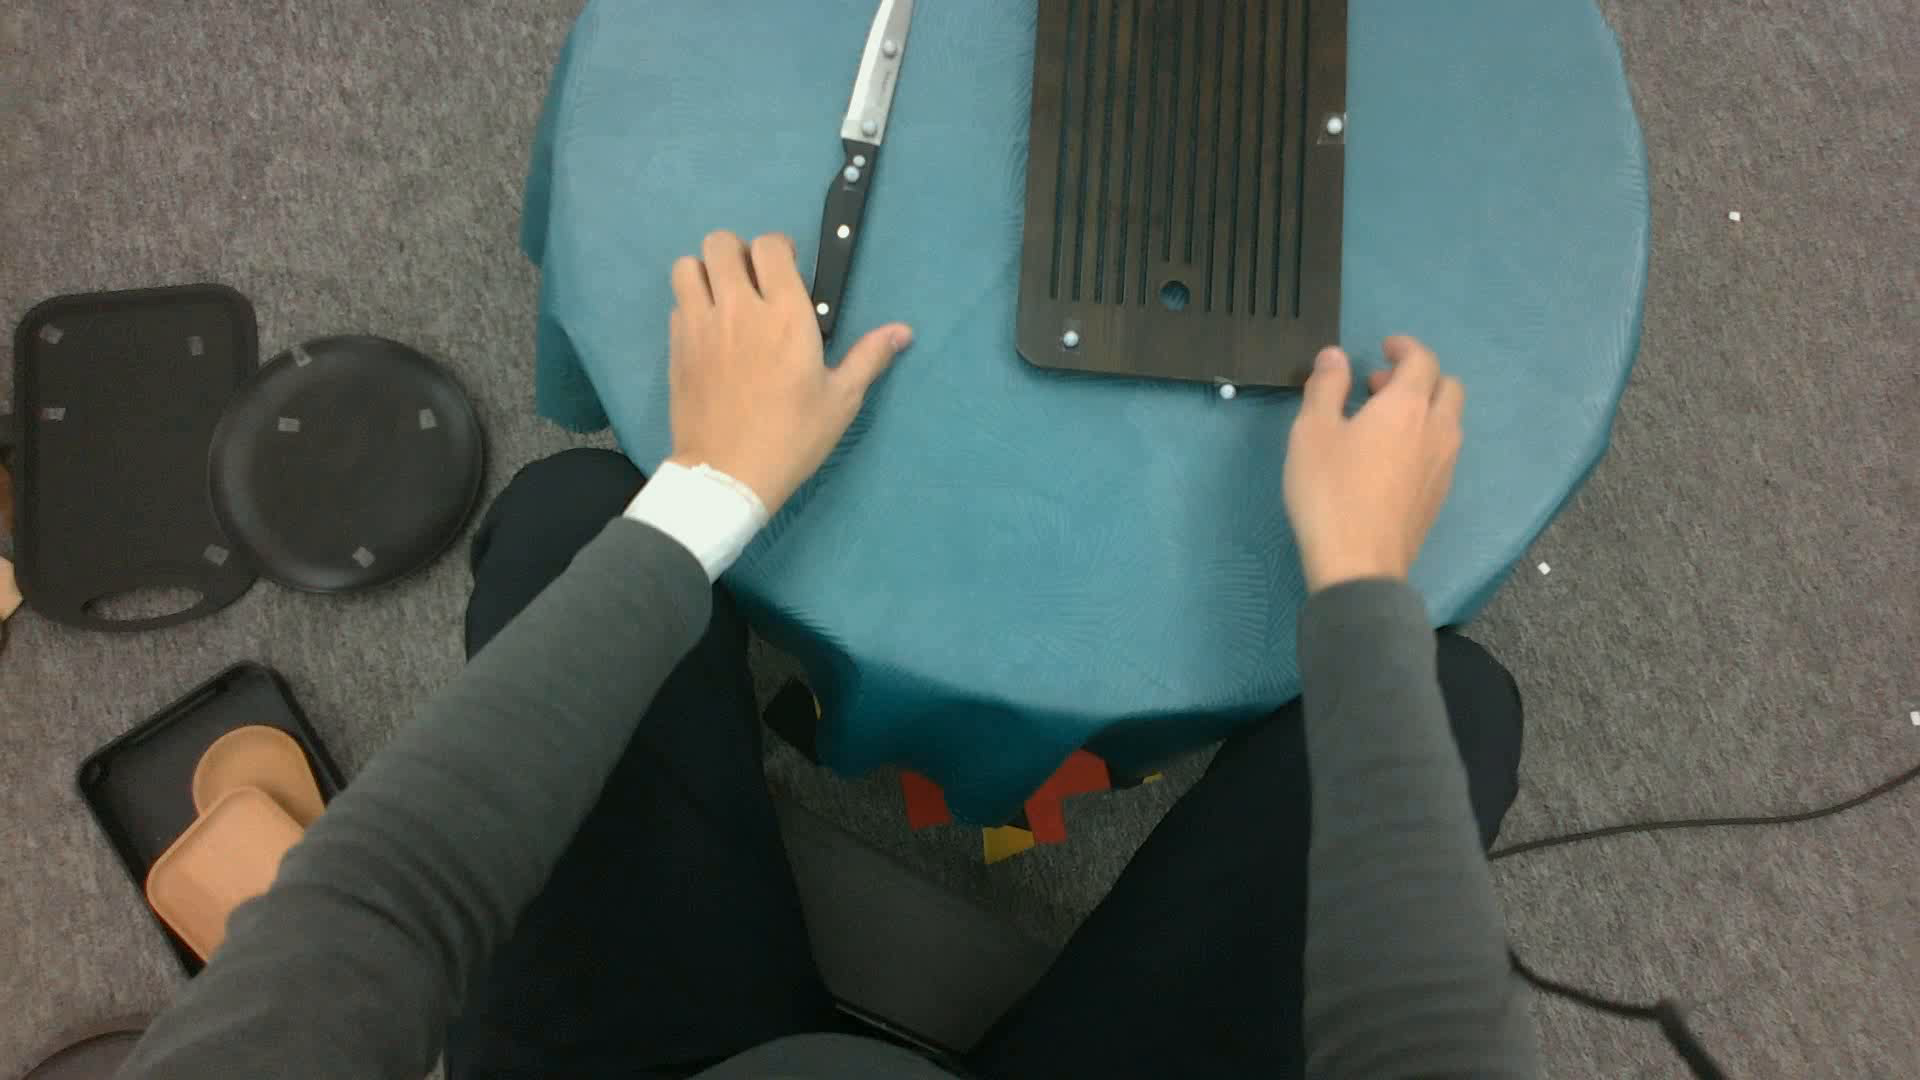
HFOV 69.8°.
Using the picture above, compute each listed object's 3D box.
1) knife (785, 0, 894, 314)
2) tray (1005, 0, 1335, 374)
[{"bbox_3d":[-0.059,-0.231,0.745,0.024,0.016,0.238,11,76,0],"label":"knife"},{"bbox_3d":[0.118,-0.241,0.751,0.170,0.018,0.306,4,79,-1],"label":"tray"}]
